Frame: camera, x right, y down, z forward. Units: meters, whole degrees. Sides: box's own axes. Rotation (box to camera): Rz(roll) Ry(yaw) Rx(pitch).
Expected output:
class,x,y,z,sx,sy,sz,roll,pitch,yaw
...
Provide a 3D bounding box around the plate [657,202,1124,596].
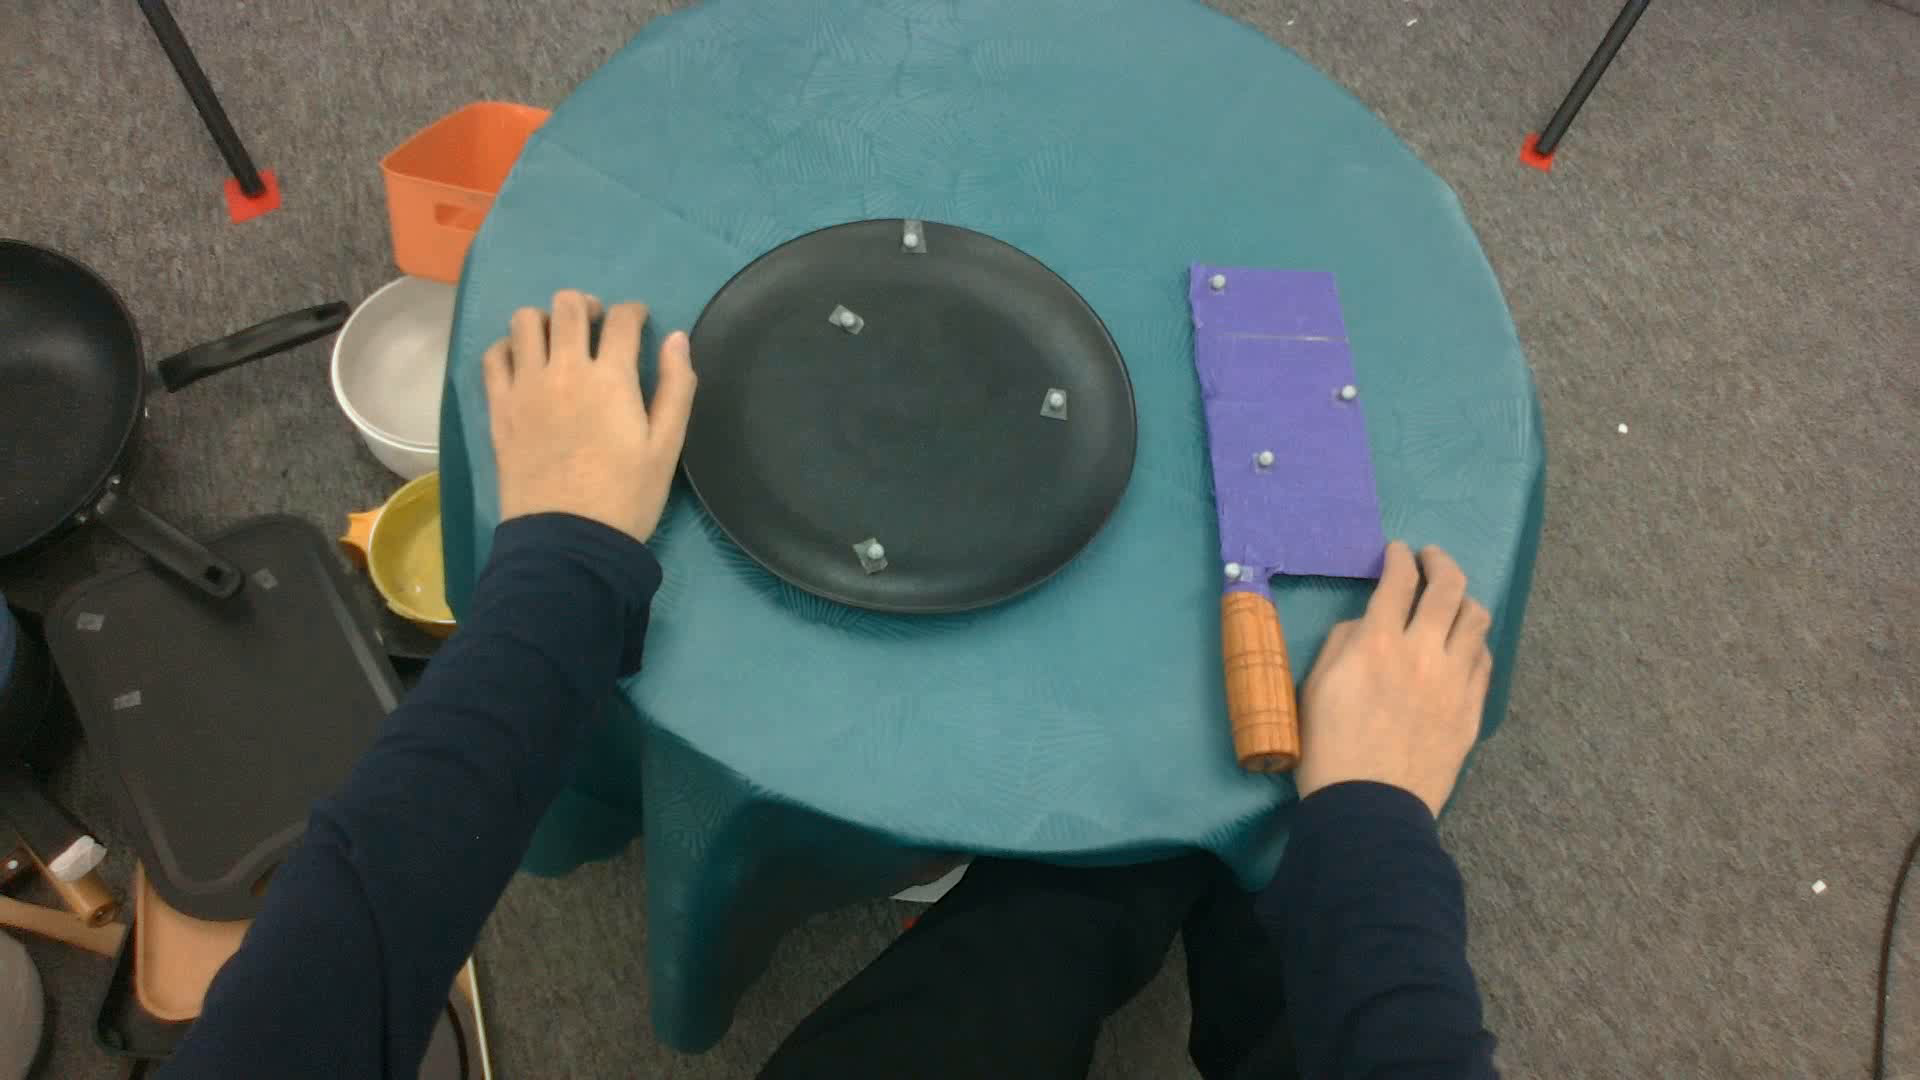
class,x,y,z,sx,sy,sz,roll,pitch,yaw
plate,-0.035,-0.078,0.726,0.244,0.023,0.245,3,62,-6

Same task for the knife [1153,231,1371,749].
class,x,y,z,sx,sy,sz,roll,pitch,yaw
knife,0.169,-0.043,0.735,0.104,0.032,0.316,2,62,-7
